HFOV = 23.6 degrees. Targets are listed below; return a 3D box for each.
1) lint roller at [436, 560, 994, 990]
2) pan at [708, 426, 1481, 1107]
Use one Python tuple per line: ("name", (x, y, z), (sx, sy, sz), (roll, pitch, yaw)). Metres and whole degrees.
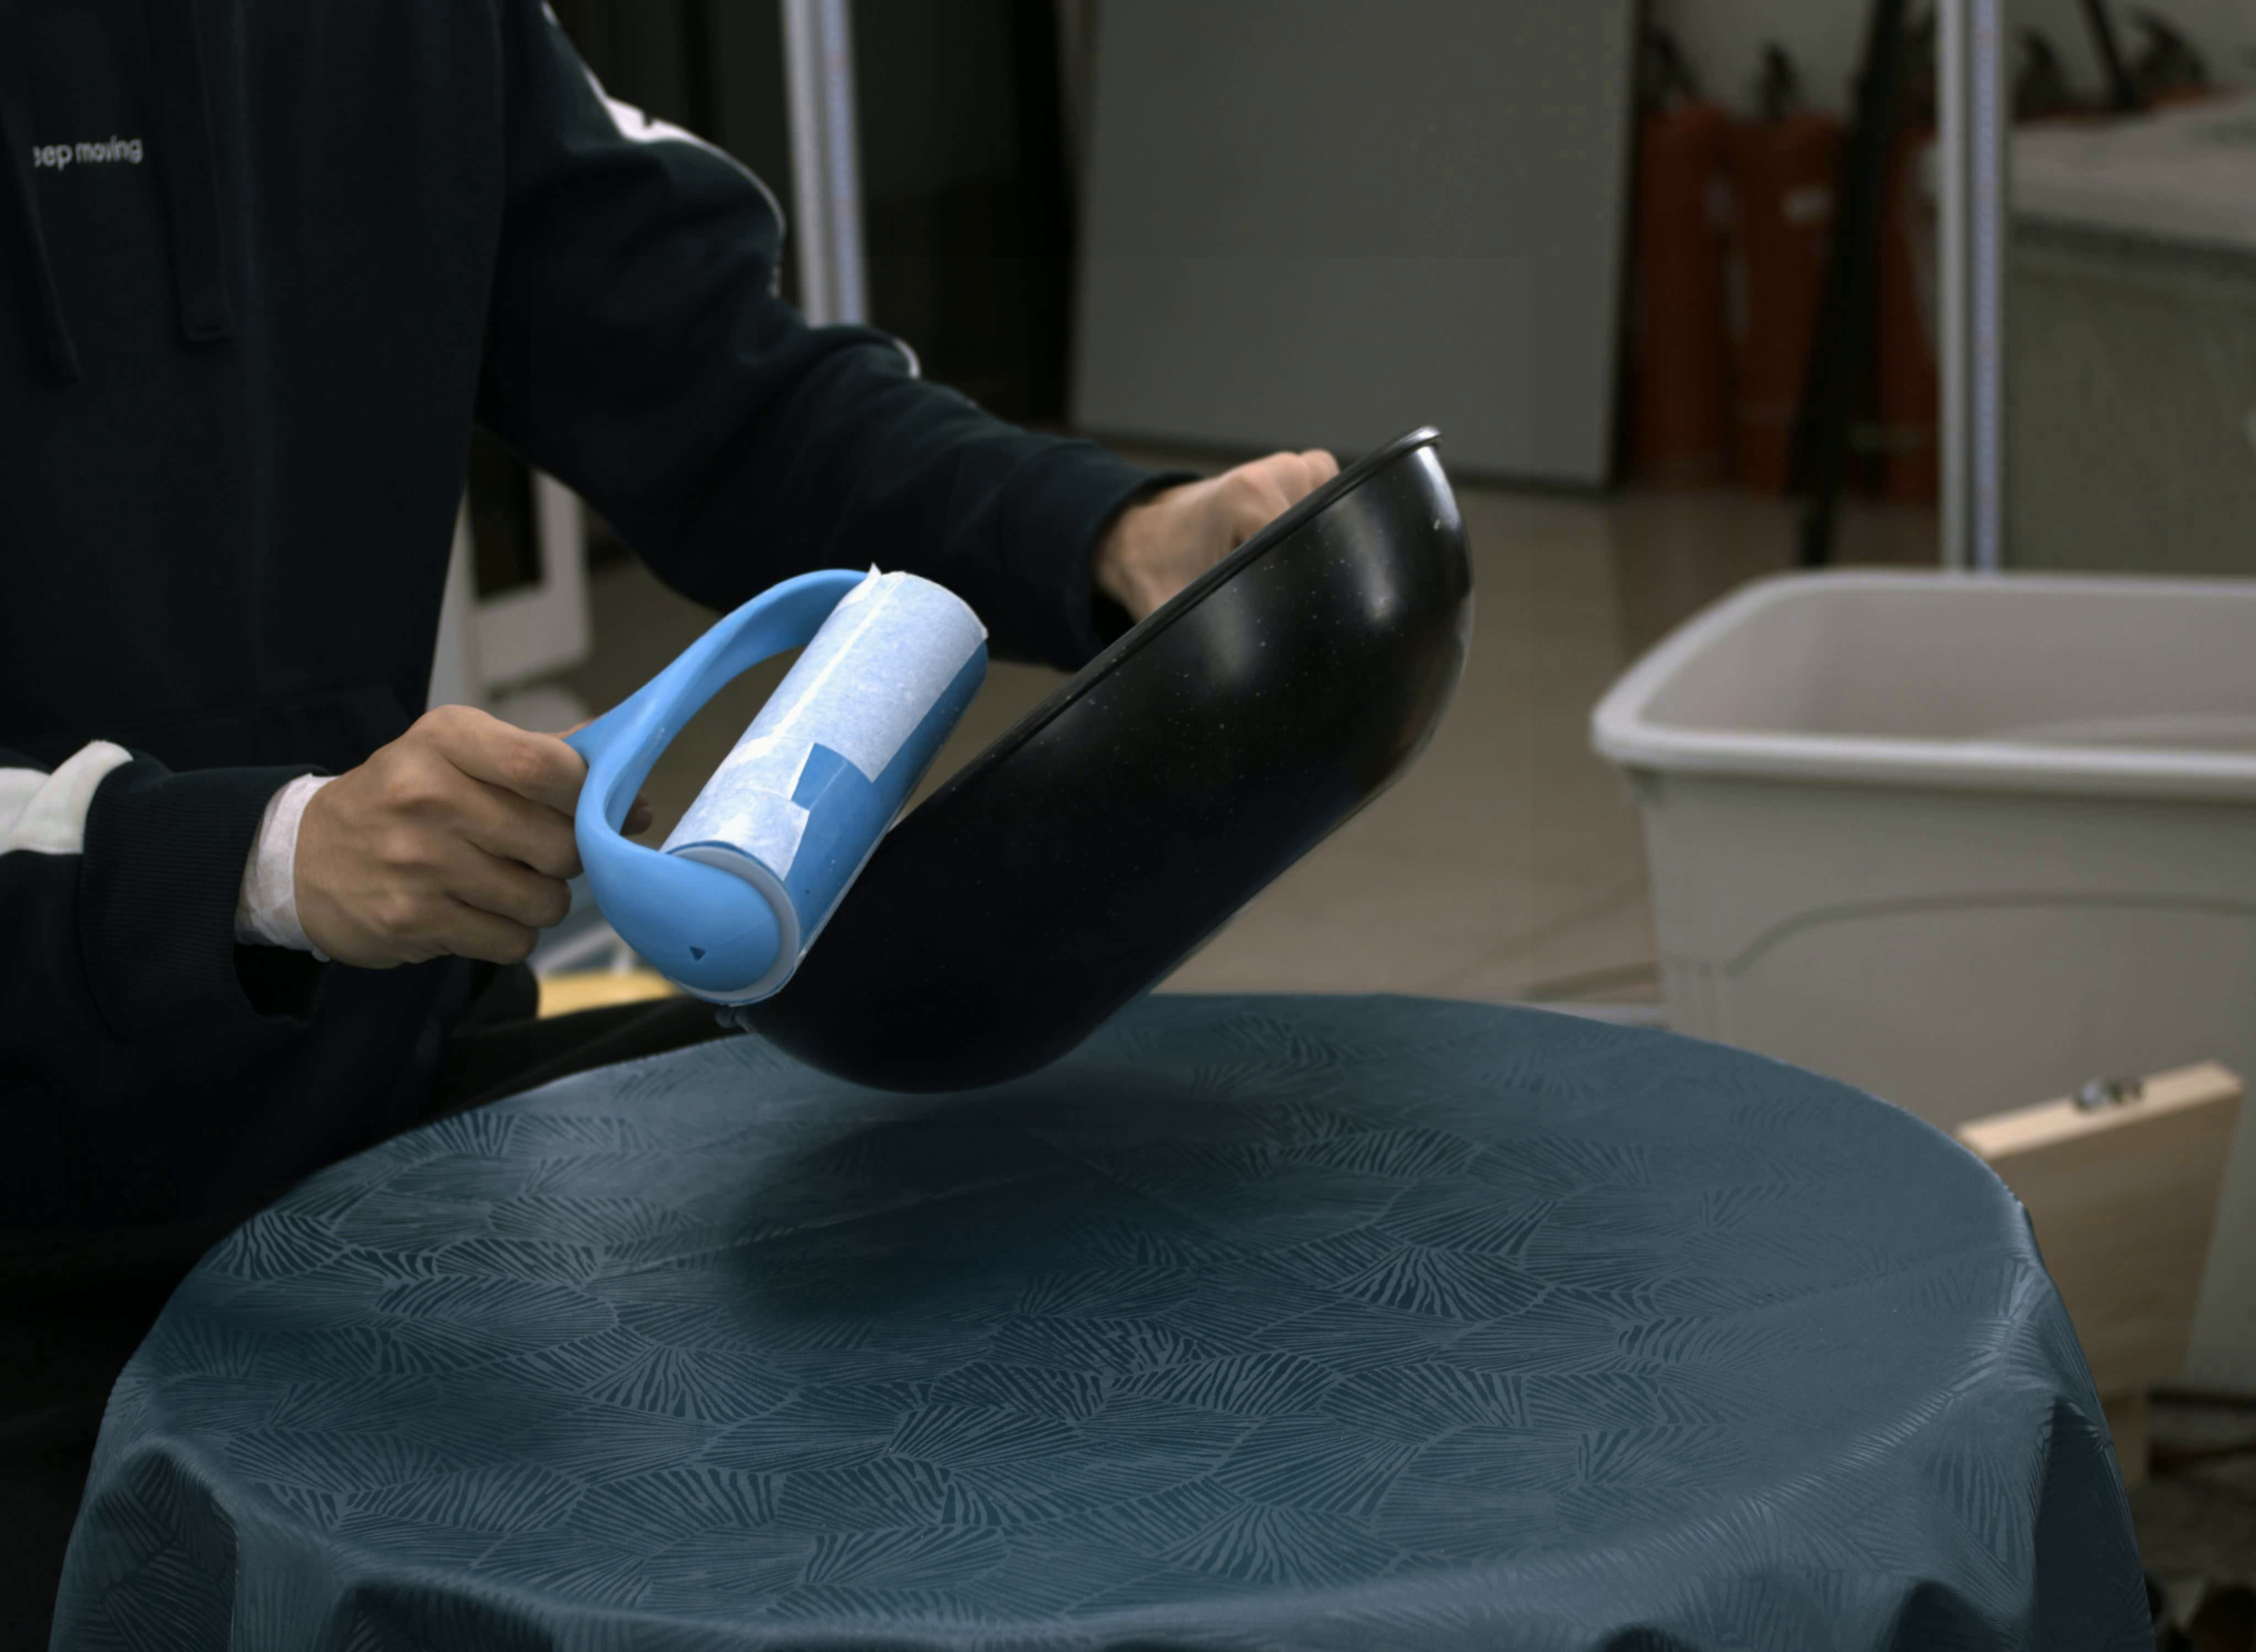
("lint roller", (-0.144, -0.005, 1.662), (0.180, 0.068, 0.228), (-15, 23, 19))
("pan", (0.028, -0.027, 1.843), (0.312, 0.112, 0.472), (-40, -3, 23))
